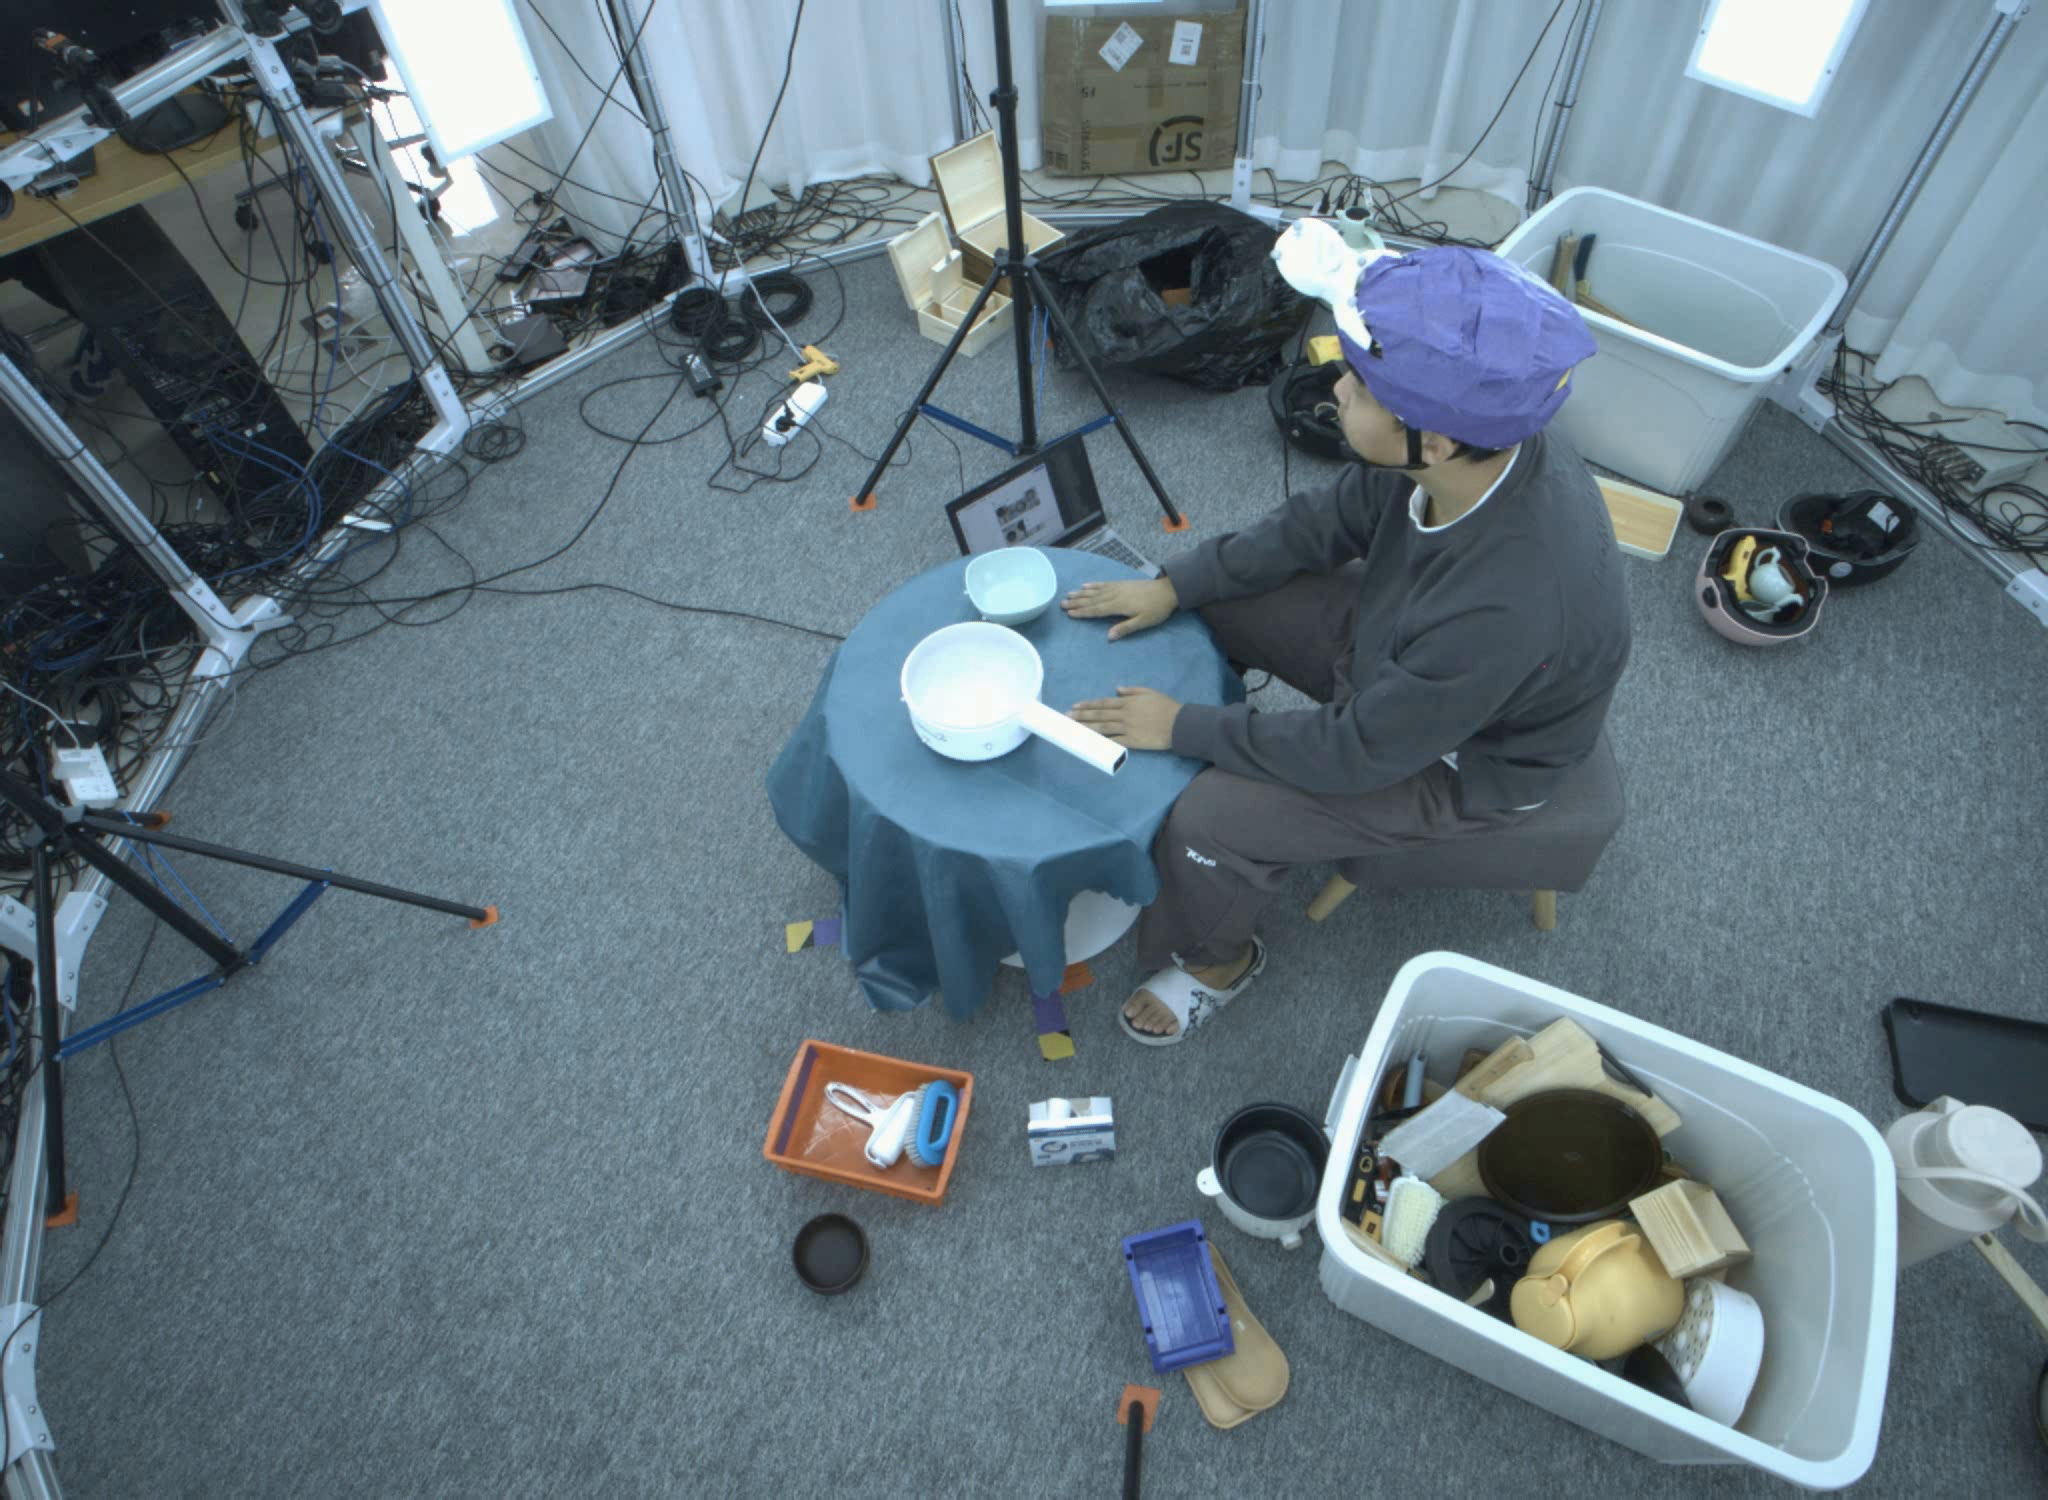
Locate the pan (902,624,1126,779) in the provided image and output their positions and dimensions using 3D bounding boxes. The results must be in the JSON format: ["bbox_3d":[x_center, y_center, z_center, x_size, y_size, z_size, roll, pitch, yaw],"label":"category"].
[{"bbox_3d":[-0.011,-0.042,1.763,0.349,0.103,0.202,30,59,19],"label":"pan"}]

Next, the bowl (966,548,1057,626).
[{"bbox_3d":[-0.019,-0.247,1.929,0.151,0.059,0.150,-1,55,3],"label":"bowl"}]
